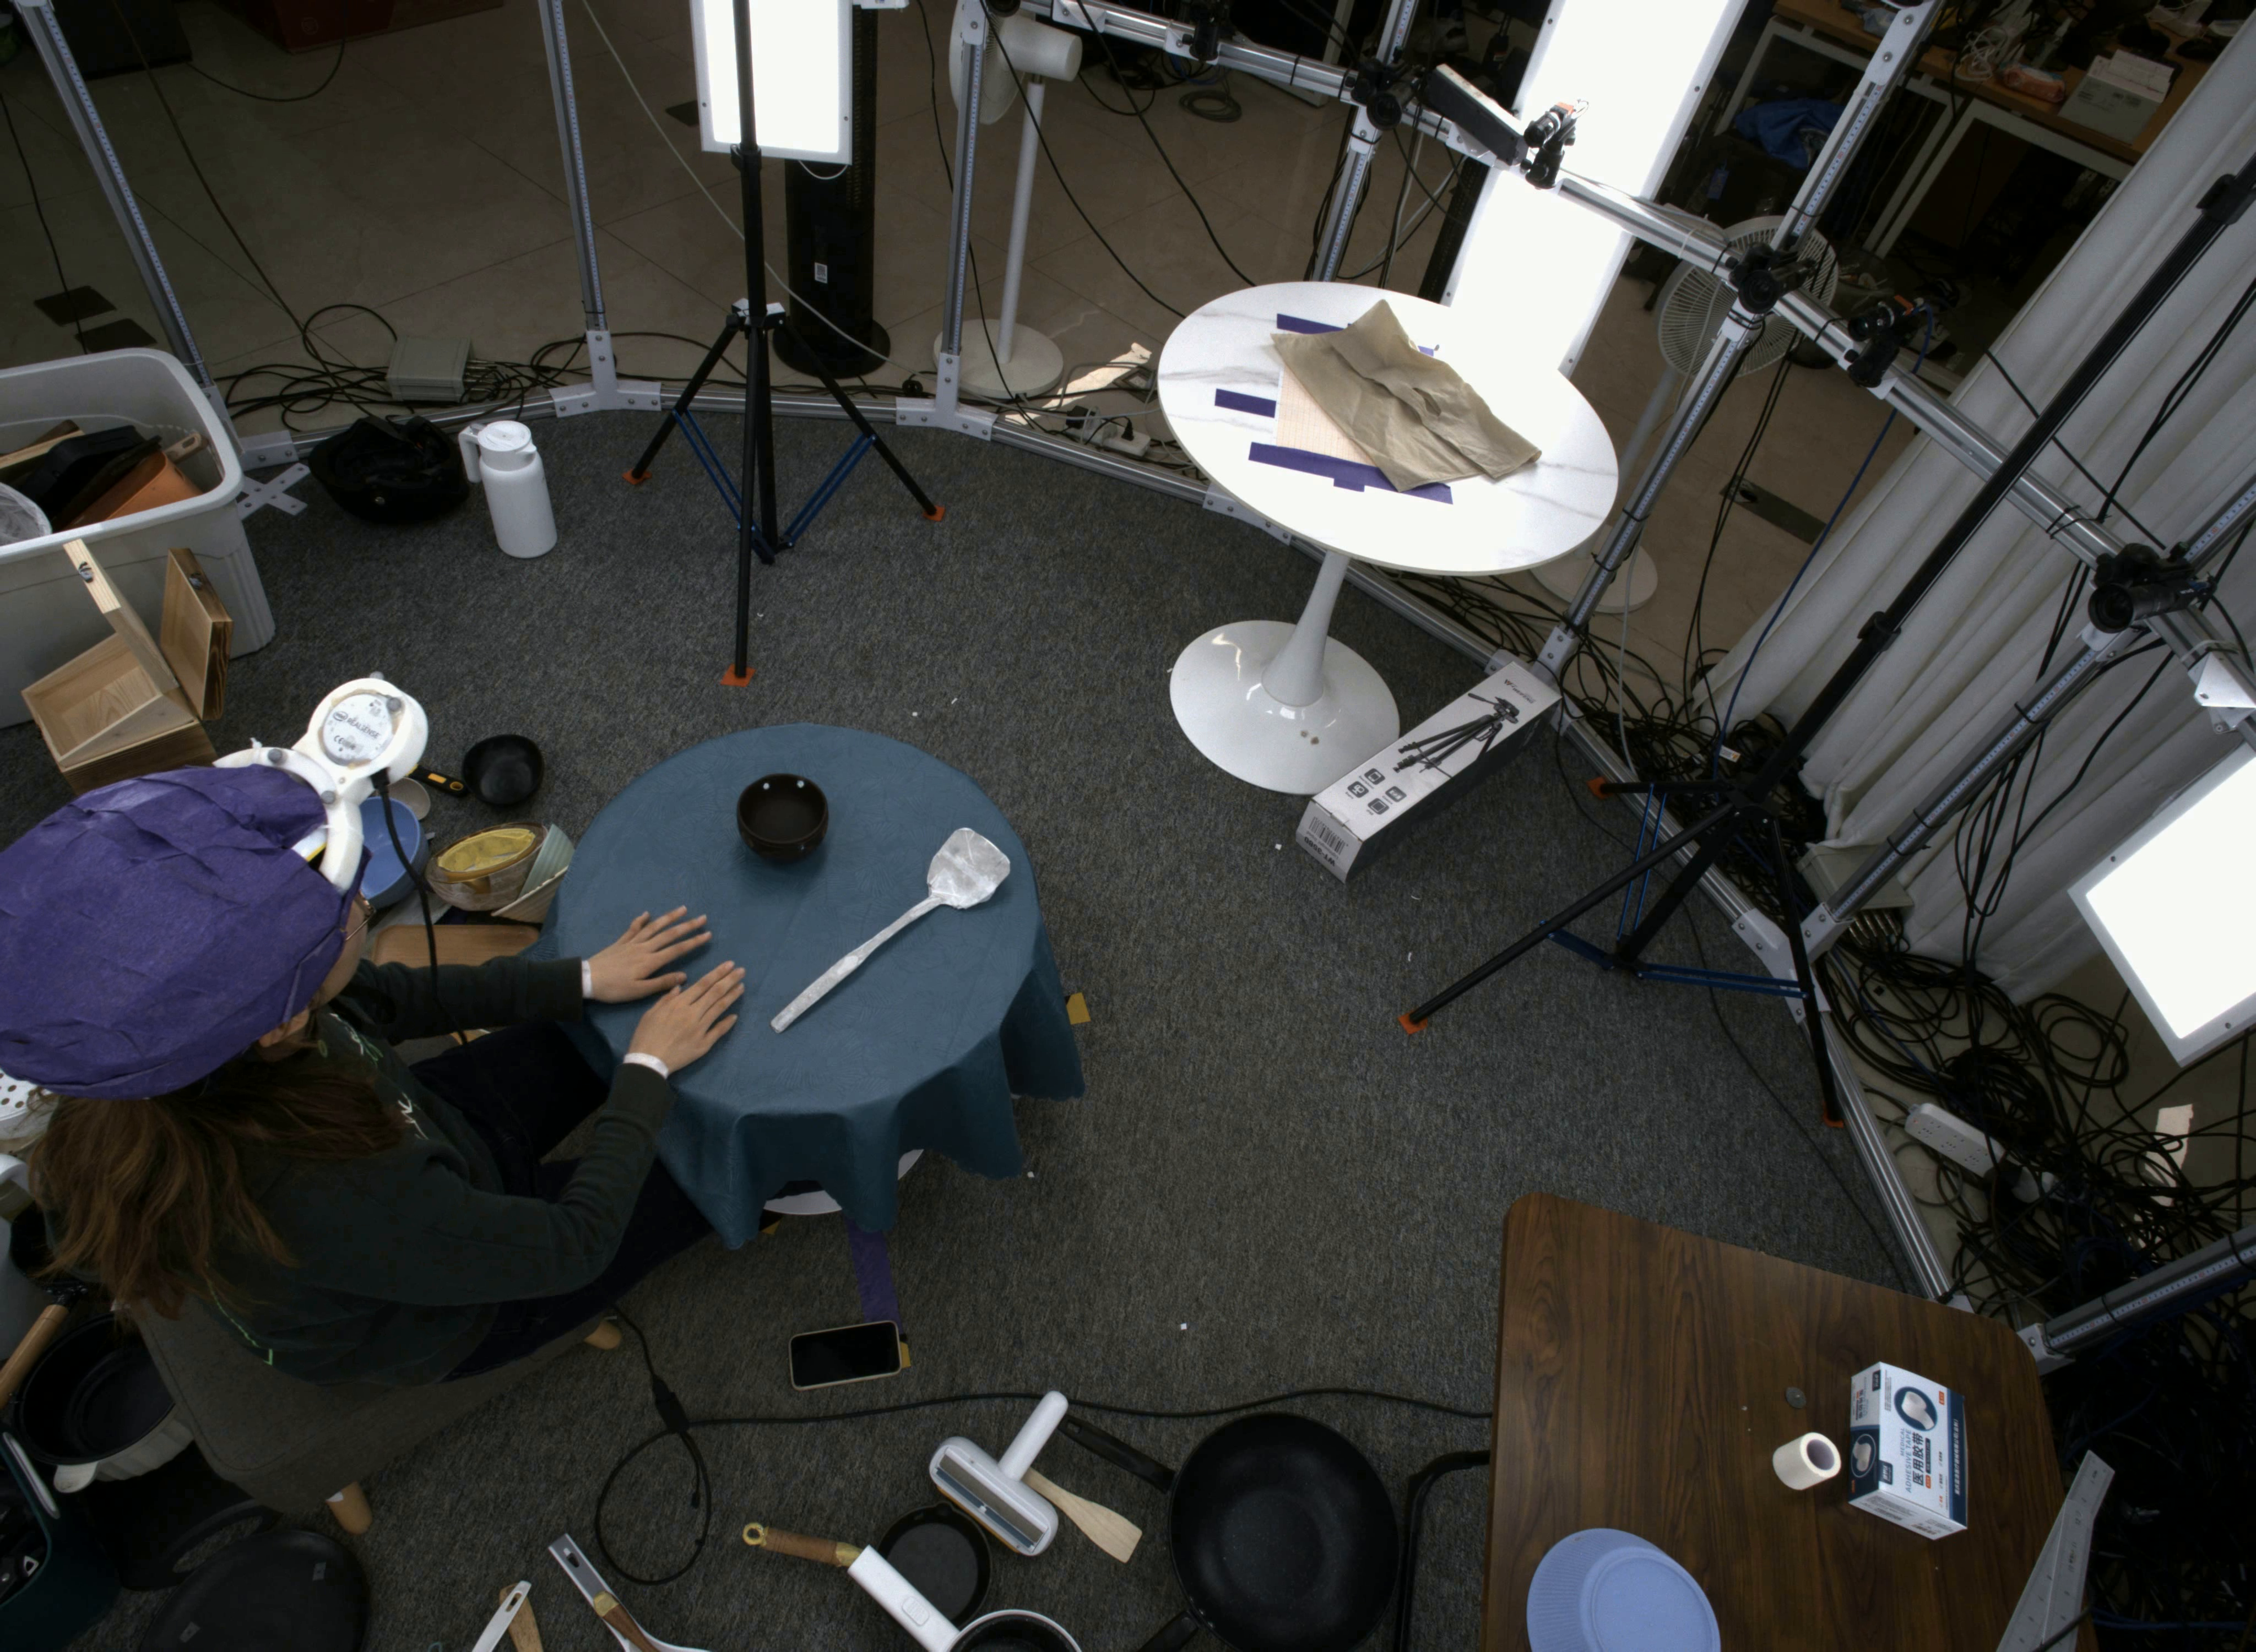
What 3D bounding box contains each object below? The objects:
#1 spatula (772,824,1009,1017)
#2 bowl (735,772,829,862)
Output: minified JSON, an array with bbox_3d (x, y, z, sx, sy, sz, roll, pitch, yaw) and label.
[{"bbox_3d":[-0.301,0.125,1.643,0.097,0.045,0.365,41,54,15],"label":"spatula"},{"bbox_3d":[-0.447,-0.005,1.680,0.117,0.071,0.116,6,52,-7],"label":"bowl"}]
